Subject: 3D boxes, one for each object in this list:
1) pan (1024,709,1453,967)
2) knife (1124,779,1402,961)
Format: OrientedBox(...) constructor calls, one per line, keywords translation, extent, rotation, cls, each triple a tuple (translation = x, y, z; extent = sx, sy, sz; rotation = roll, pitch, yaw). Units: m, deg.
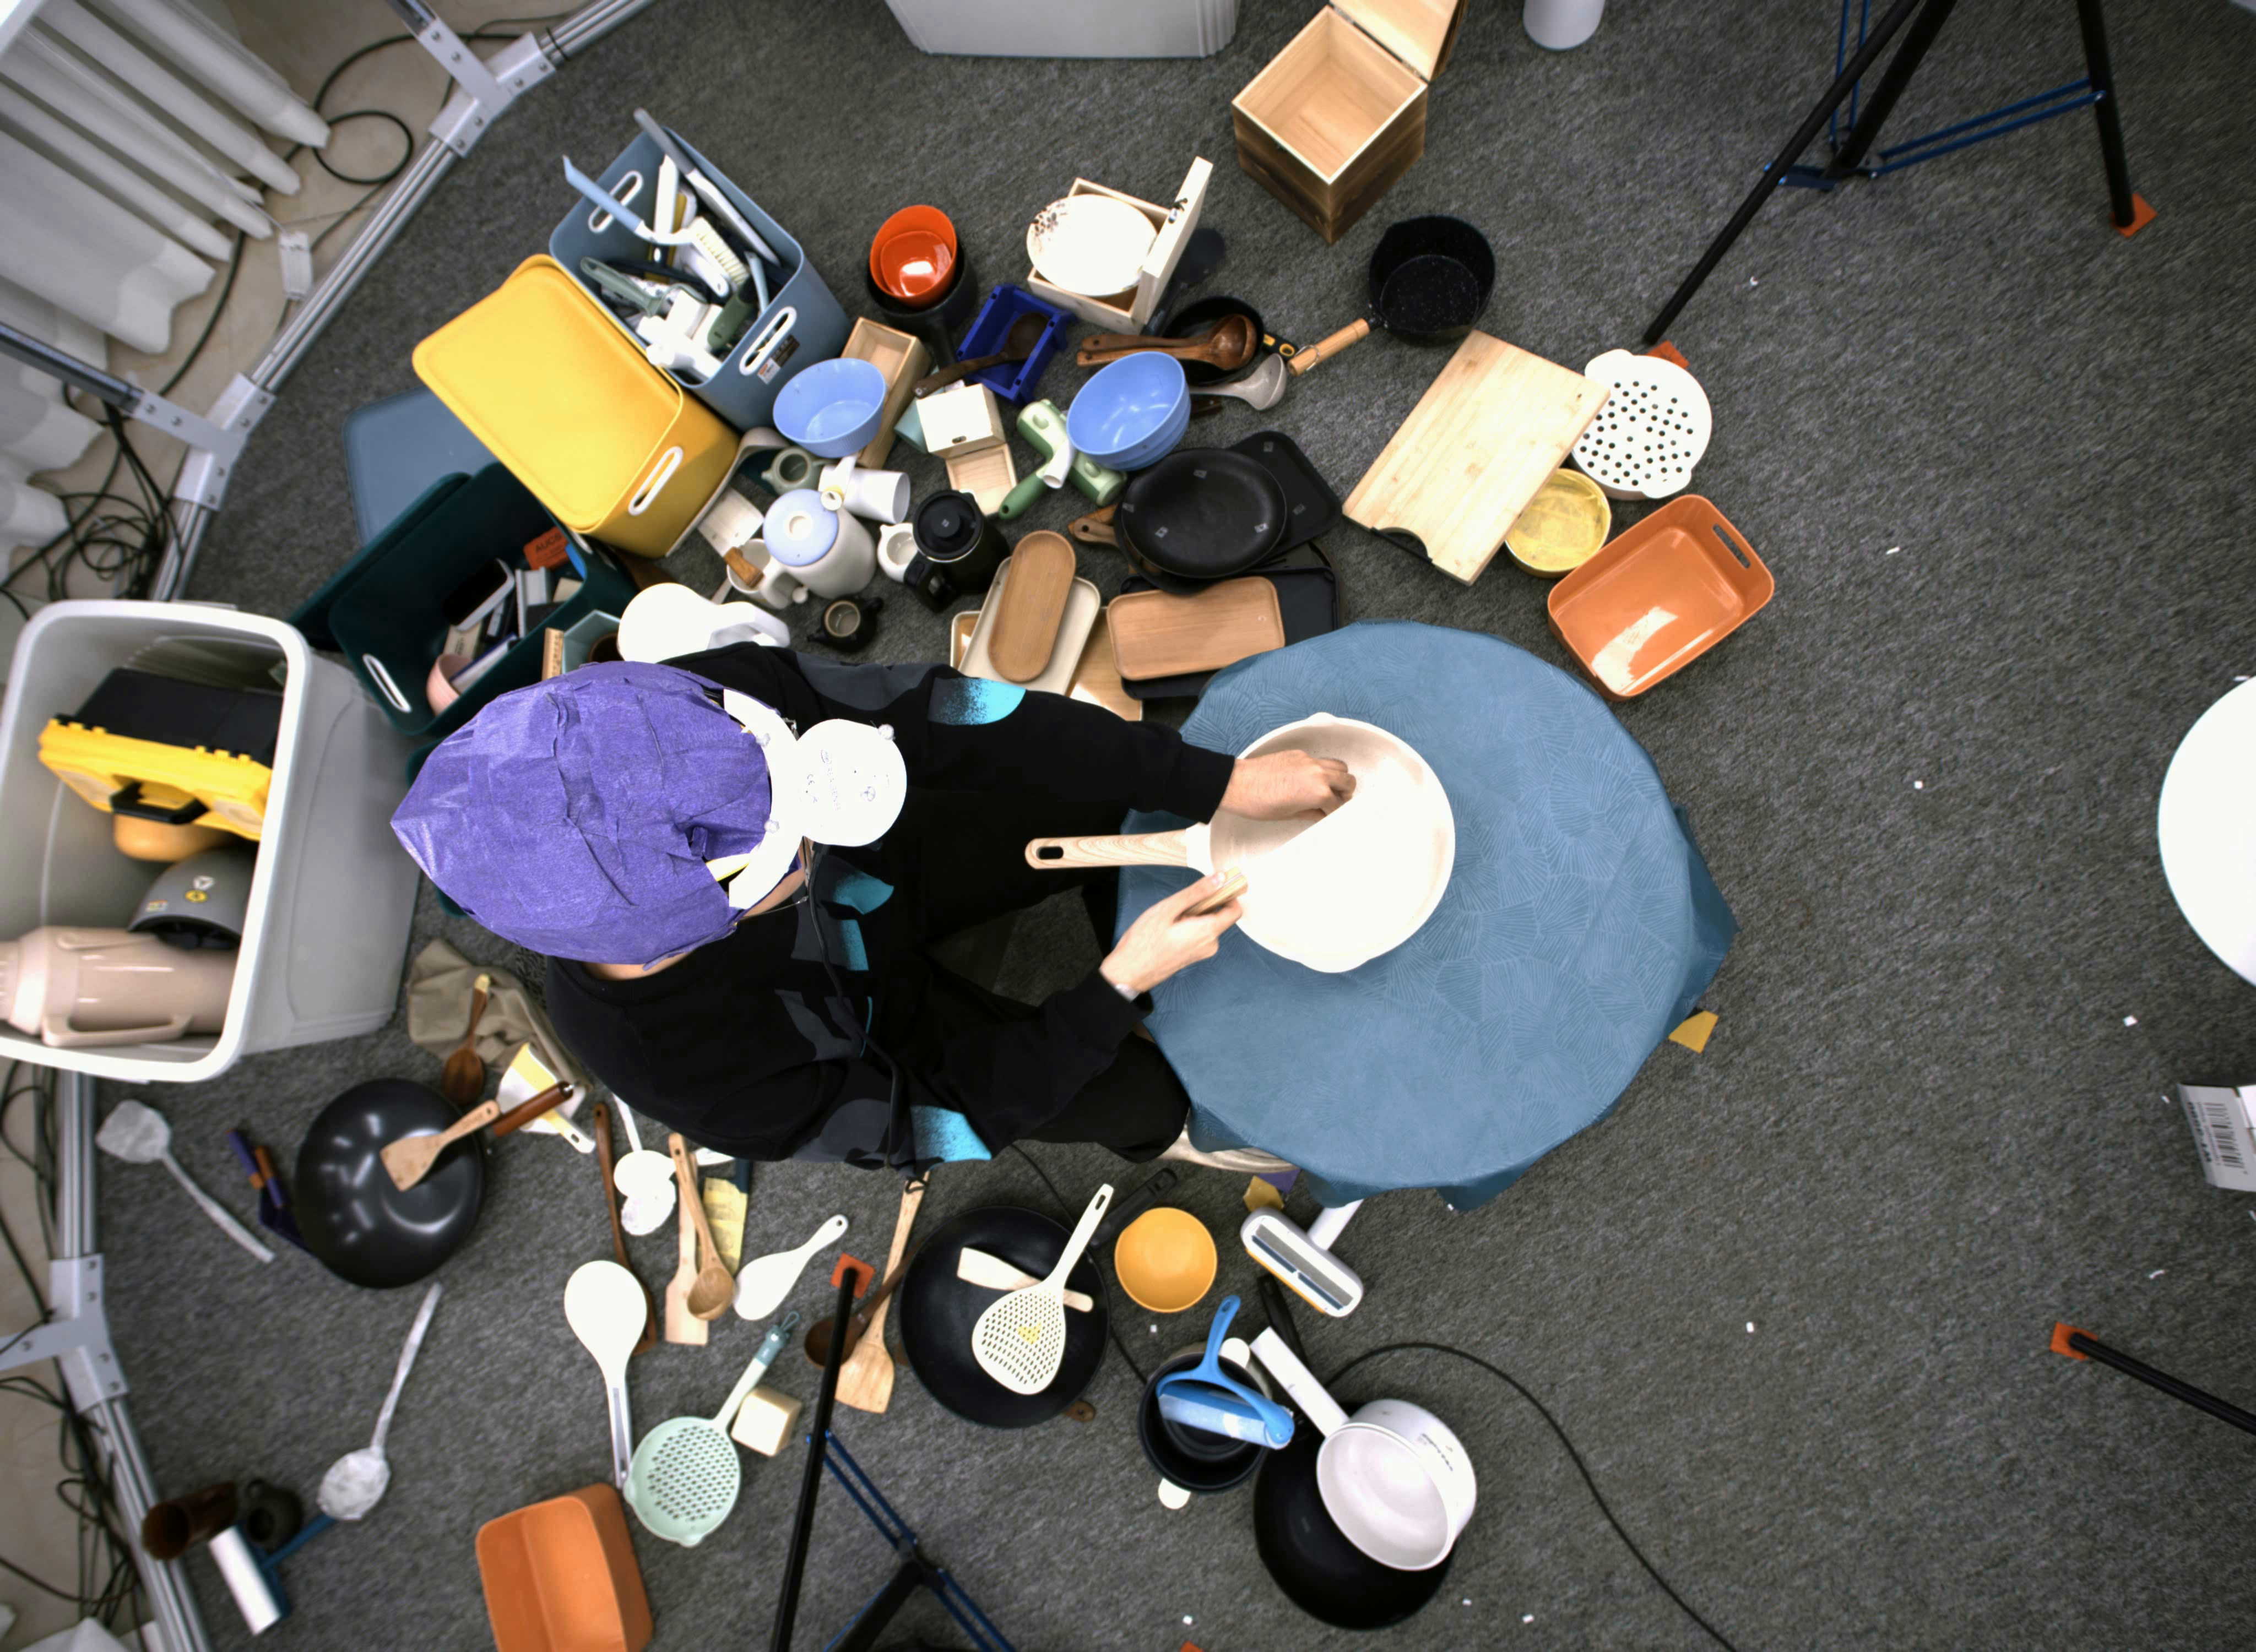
OrientedBox(translation=(0.115, 0.019, 1.442), extent=(0.437, 0.102, 0.262), rotation=(-5, 88, 10), cls="pan")
OrientedBox(translation=(0.134, 0.041, 1.350), extent=(0.315, 0.115, 0.021), rotation=(-31, 71, 0), cls="knife")
